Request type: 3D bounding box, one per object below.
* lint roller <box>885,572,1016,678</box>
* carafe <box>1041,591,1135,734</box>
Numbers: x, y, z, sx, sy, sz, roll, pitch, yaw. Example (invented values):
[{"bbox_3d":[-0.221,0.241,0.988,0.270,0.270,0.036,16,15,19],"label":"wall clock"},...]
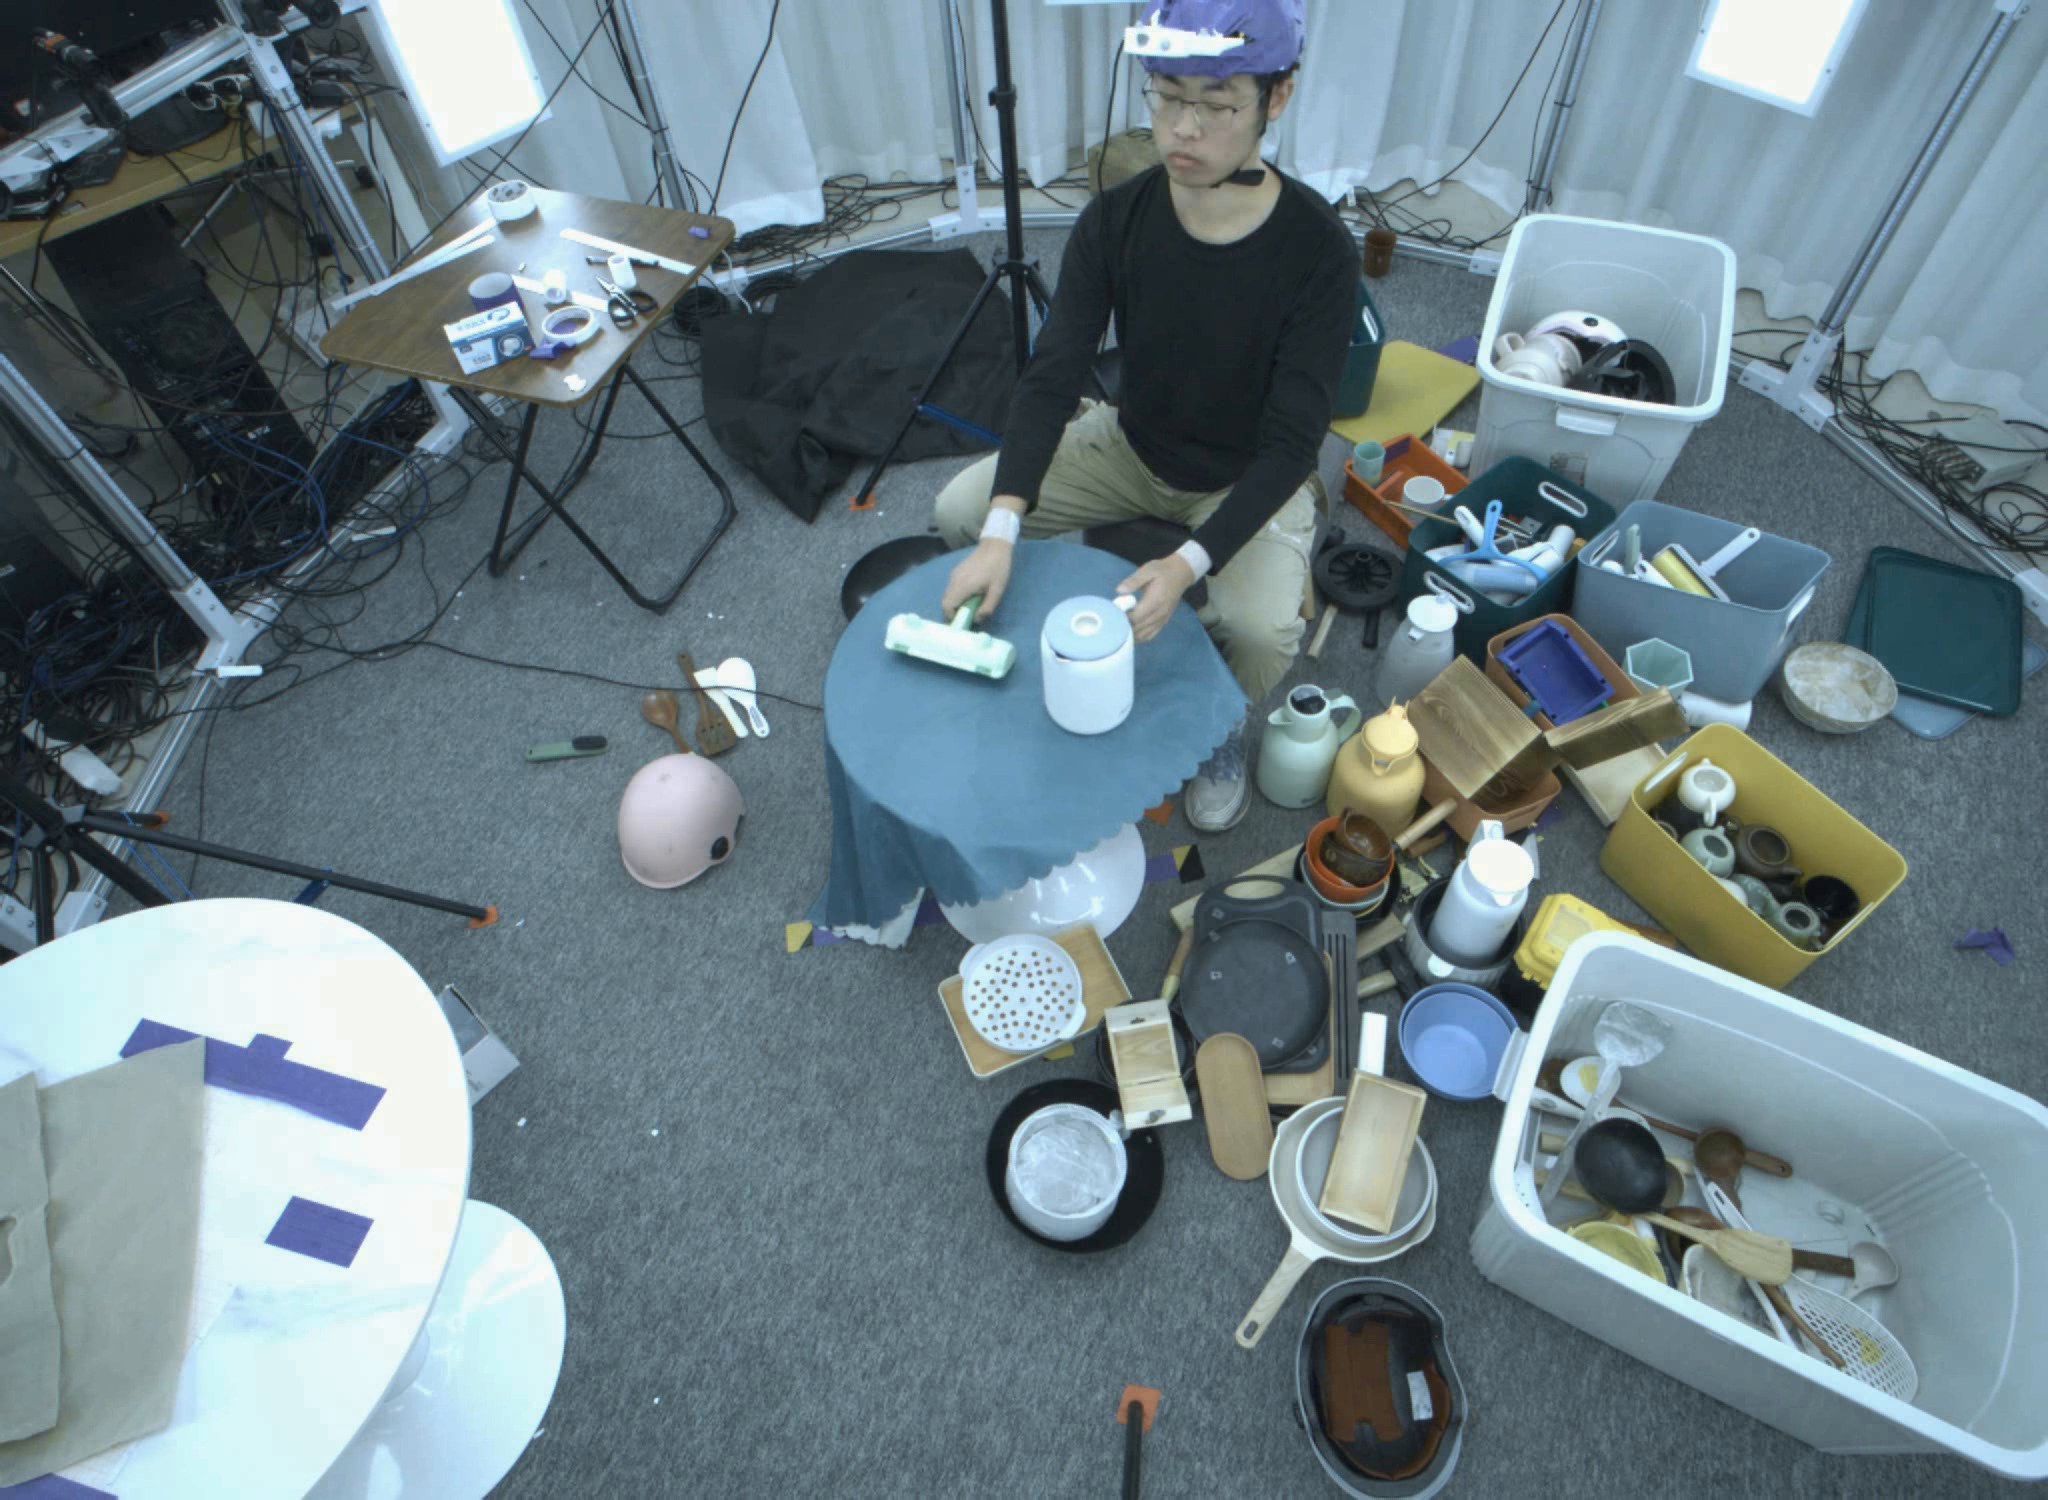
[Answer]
[{"bbox_3d":[-0.094,-0.211,1.882,0.197,0.083,0.183,16,71,12],"label":"lint roller"},{"bbox_3d":[0.106,-0.138,1.776,0.130,0.184,0.192,29,59,21],"label":"carafe"}]
